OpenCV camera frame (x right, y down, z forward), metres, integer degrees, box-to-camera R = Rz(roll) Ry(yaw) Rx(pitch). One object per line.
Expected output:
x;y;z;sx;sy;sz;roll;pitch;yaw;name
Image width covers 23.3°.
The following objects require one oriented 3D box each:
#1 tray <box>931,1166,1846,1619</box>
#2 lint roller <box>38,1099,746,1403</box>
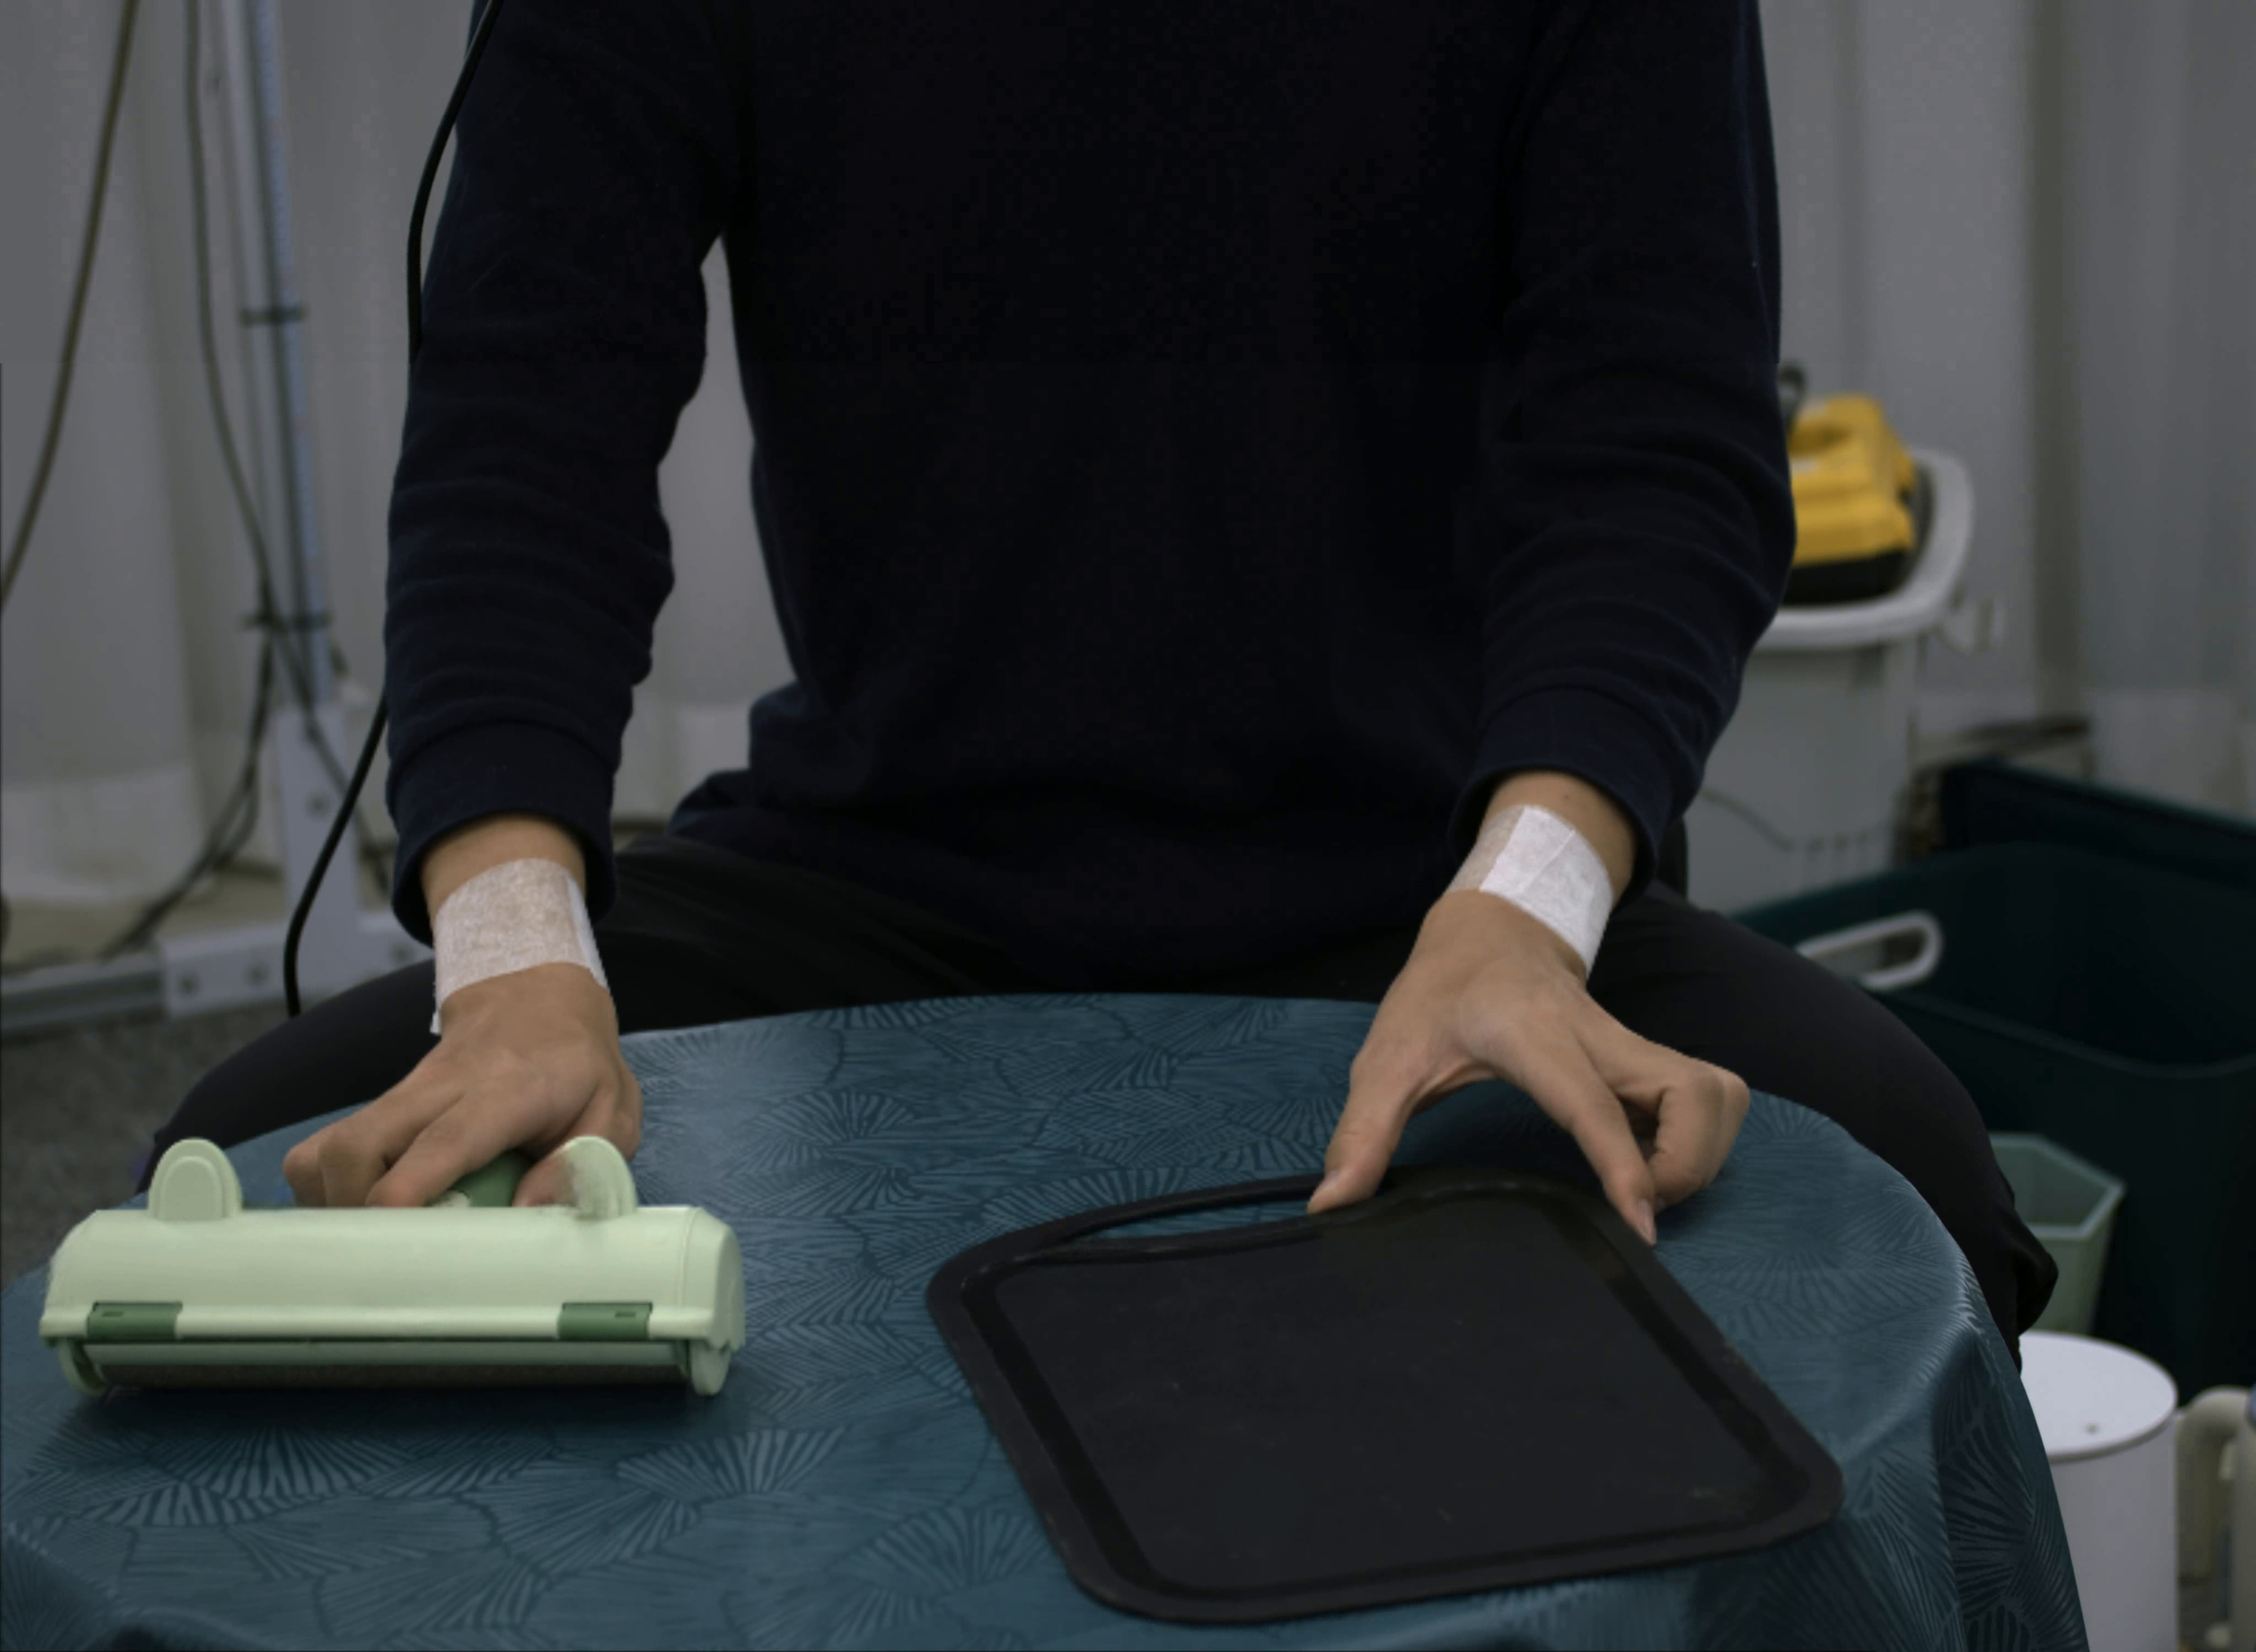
0.062;0.151;1.545;0.210;0.010;0.328;-7;16;-10;tray
-0.205;0.105;1.616;0.198;0.081;0.185;-1;26;6;lint roller
